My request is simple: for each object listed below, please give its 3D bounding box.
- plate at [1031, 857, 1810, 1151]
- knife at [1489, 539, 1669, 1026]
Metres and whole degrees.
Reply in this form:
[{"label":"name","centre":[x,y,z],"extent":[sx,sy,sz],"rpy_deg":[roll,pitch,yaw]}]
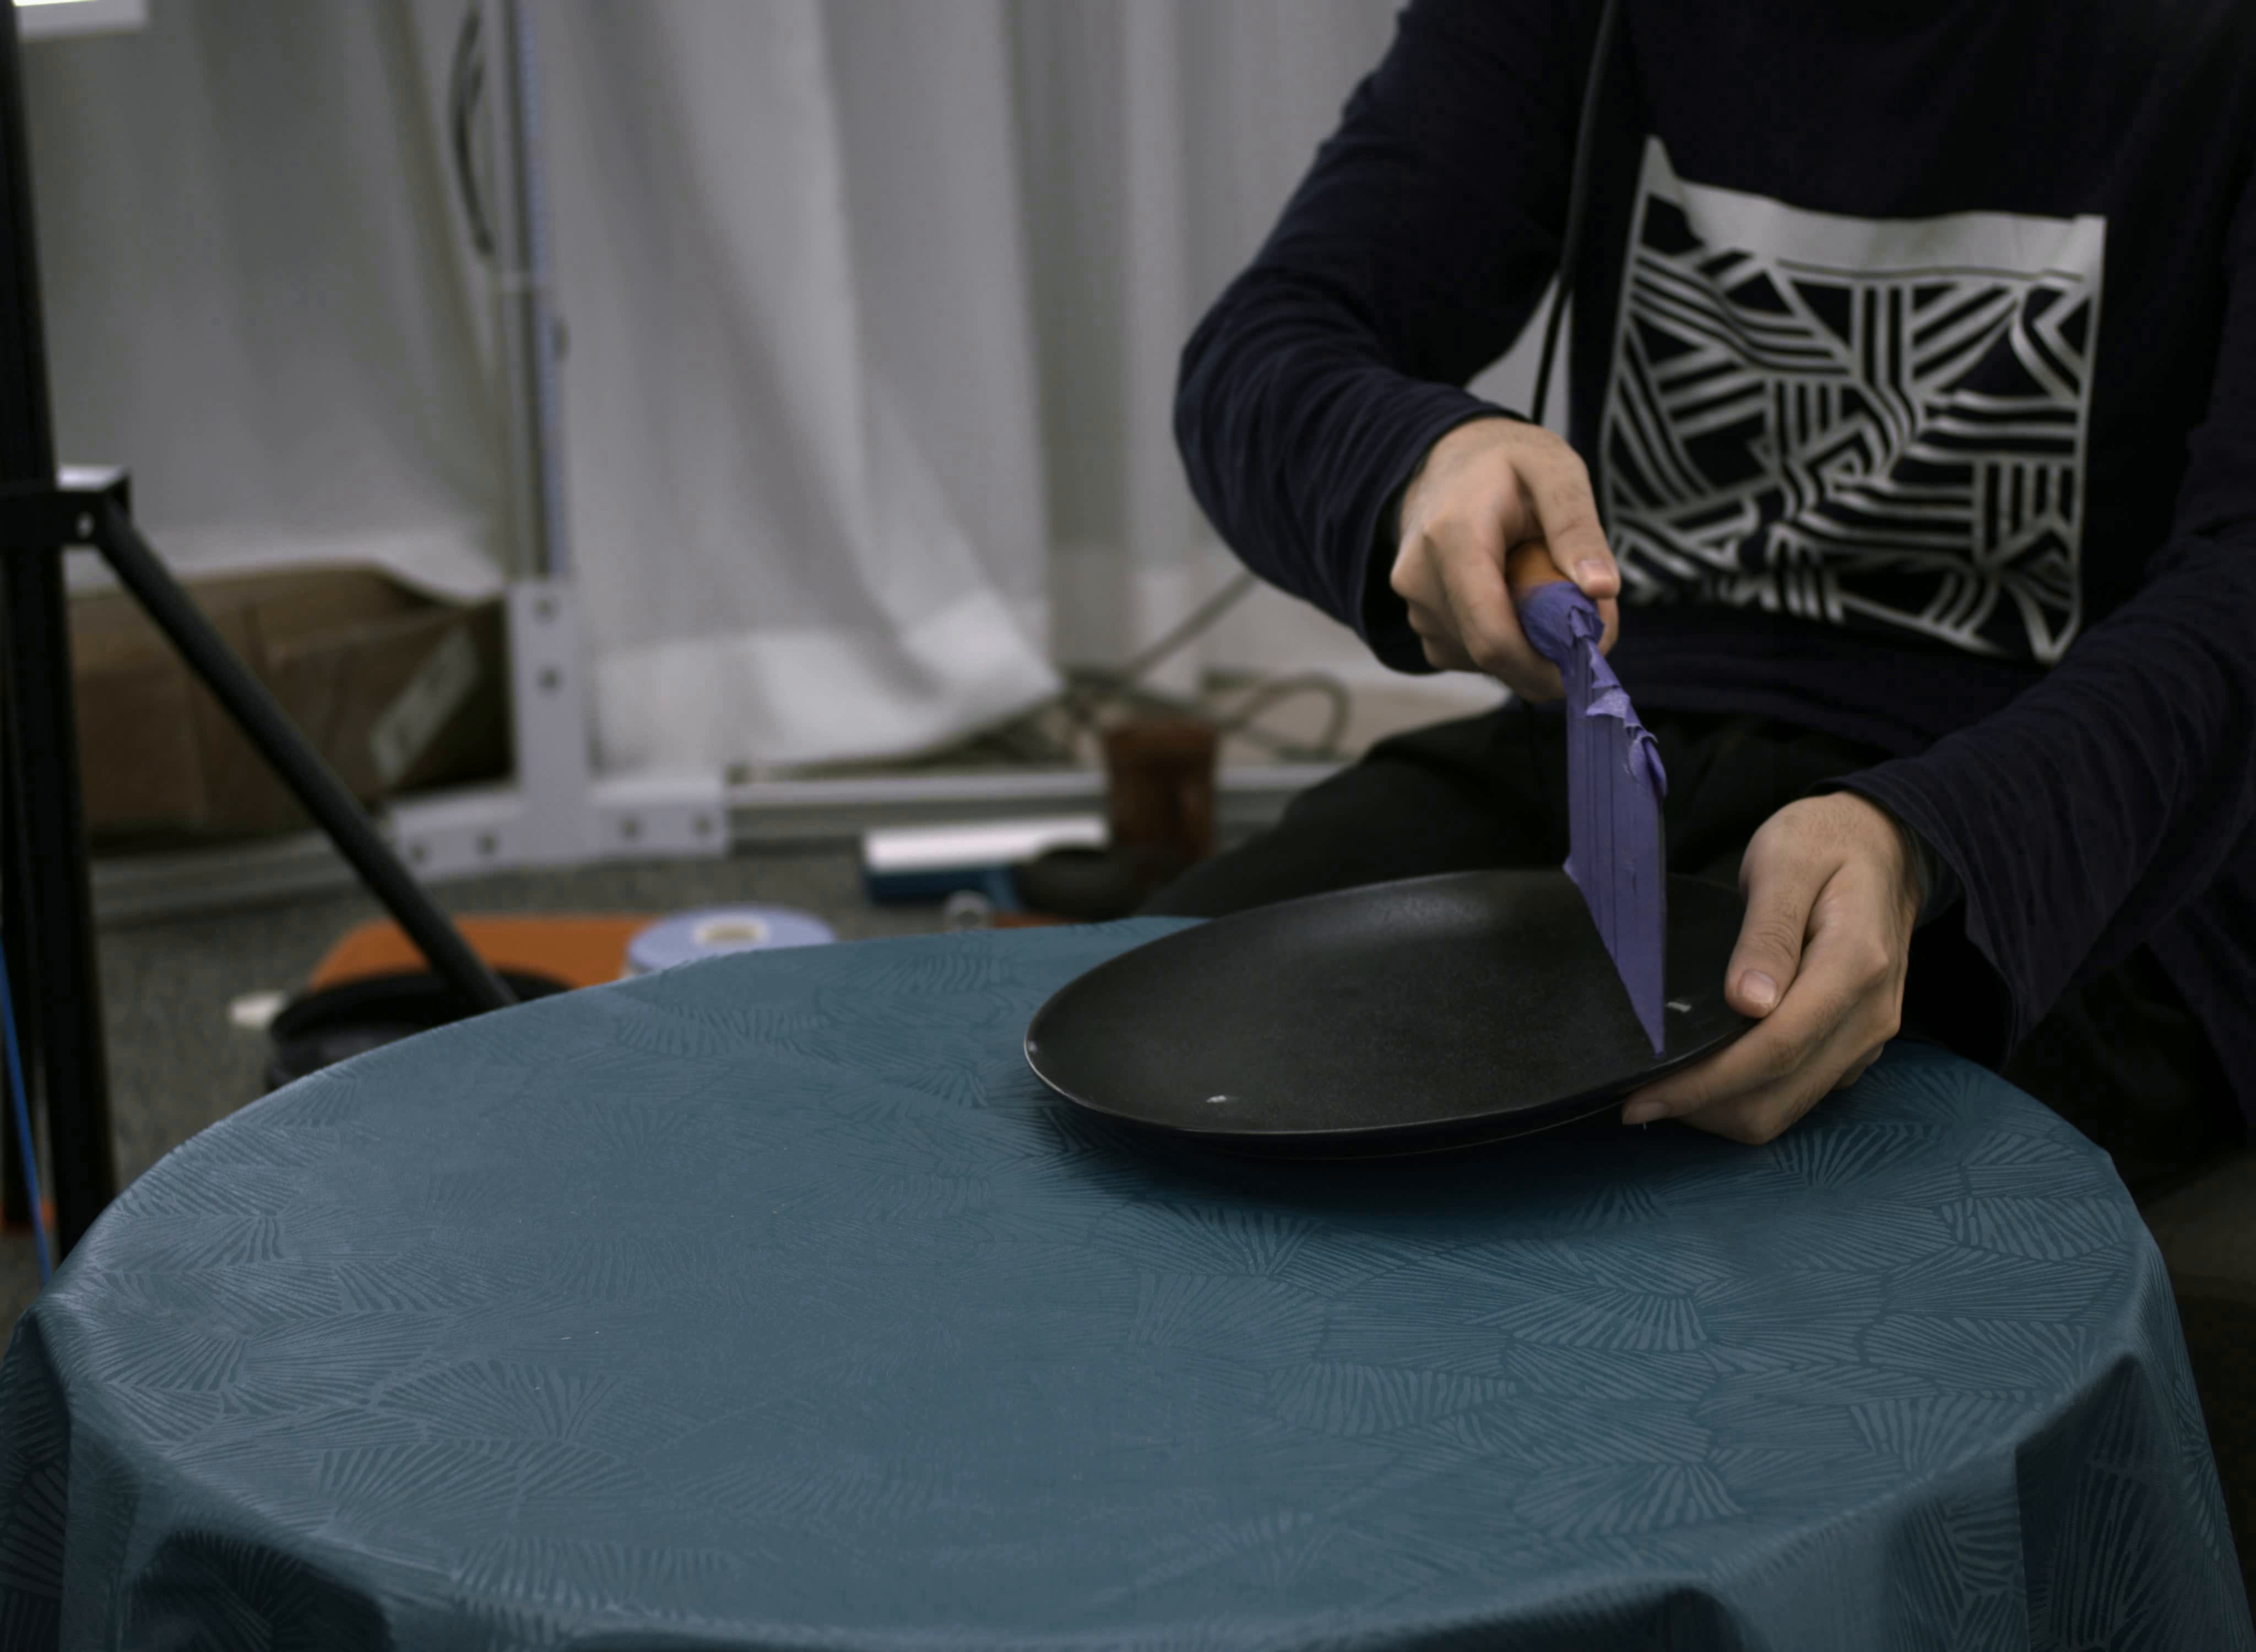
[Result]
[{"label":"plate","centre":[0.091,0.058,1.637],"extent":[0.243,0.023,0.245],"rpy_deg":[-11,15,1]},{"label":"knife","centre":[0.140,-0.016,1.650],"extent":[0.032,0.104,0.316],"rpy_deg":[-1,14,-1]}]
